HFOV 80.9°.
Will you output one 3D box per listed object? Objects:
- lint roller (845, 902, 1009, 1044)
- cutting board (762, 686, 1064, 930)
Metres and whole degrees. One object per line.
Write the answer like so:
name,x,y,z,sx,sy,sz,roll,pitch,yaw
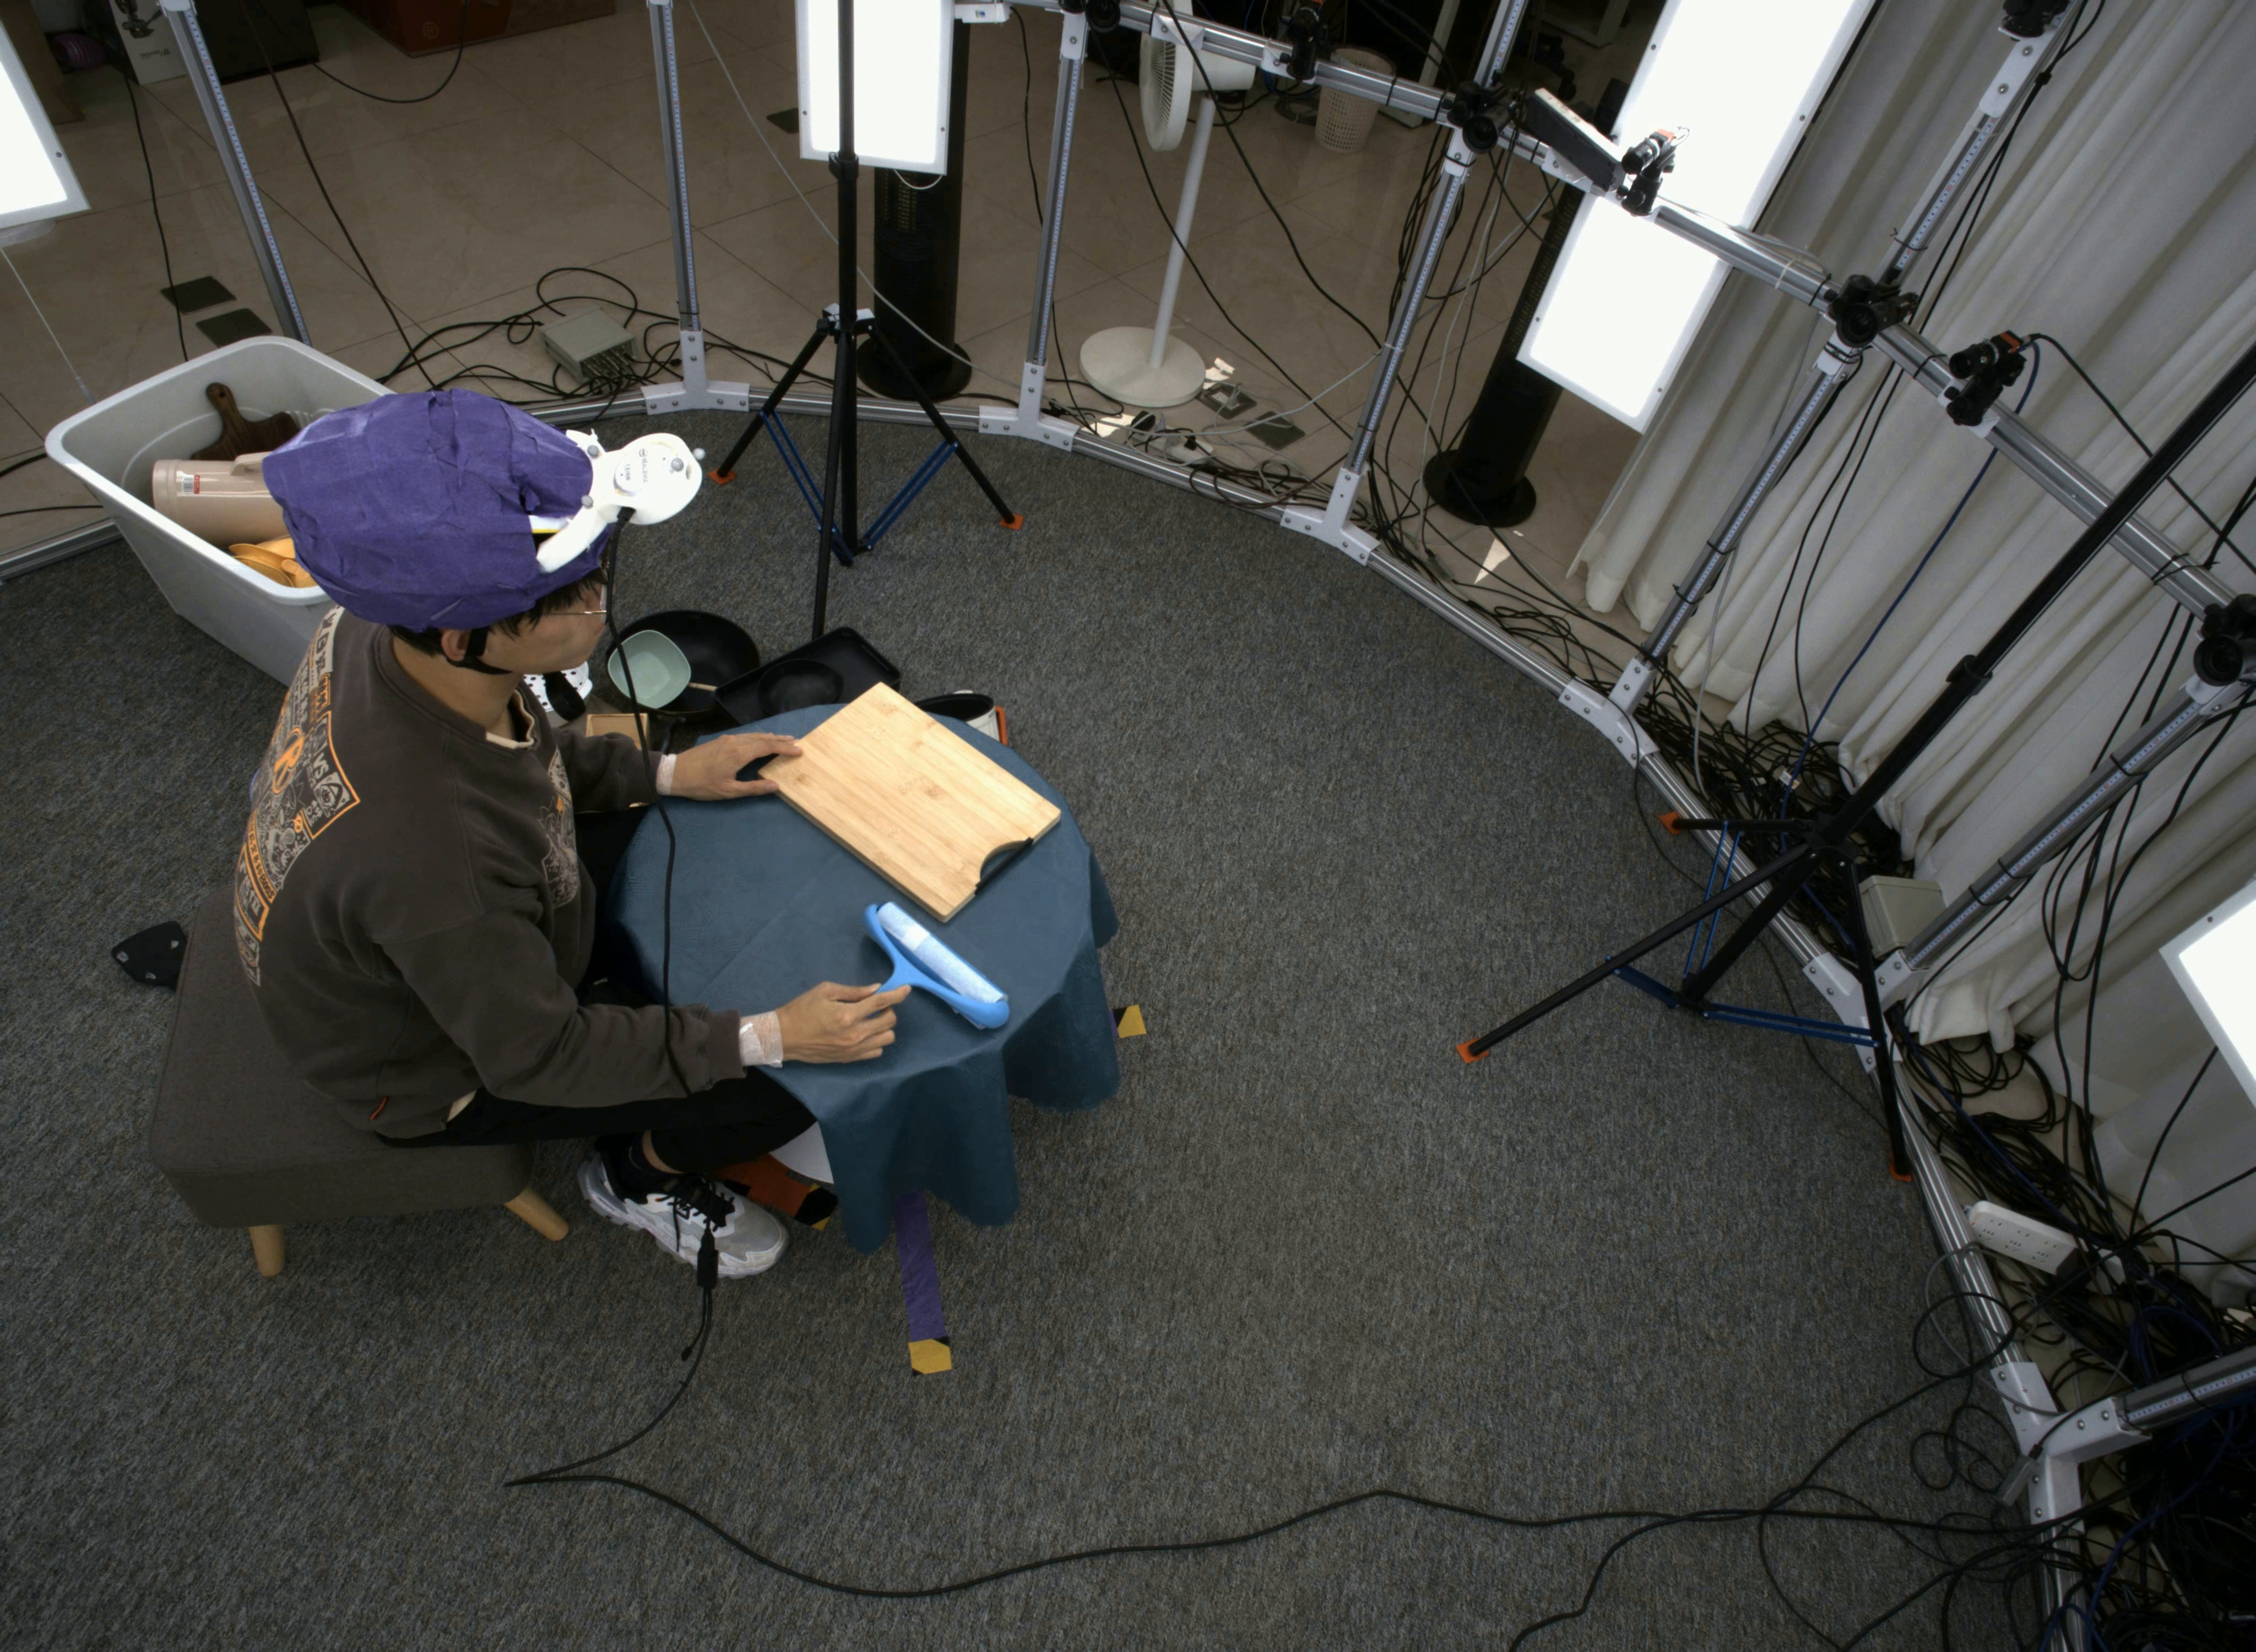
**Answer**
lint roller,-0.270,0.195,1.579,0.225,0.069,0.180,37,42,11
cutting board,-0.293,-0.036,1.787,0.342,0.024,0.250,35,55,13
